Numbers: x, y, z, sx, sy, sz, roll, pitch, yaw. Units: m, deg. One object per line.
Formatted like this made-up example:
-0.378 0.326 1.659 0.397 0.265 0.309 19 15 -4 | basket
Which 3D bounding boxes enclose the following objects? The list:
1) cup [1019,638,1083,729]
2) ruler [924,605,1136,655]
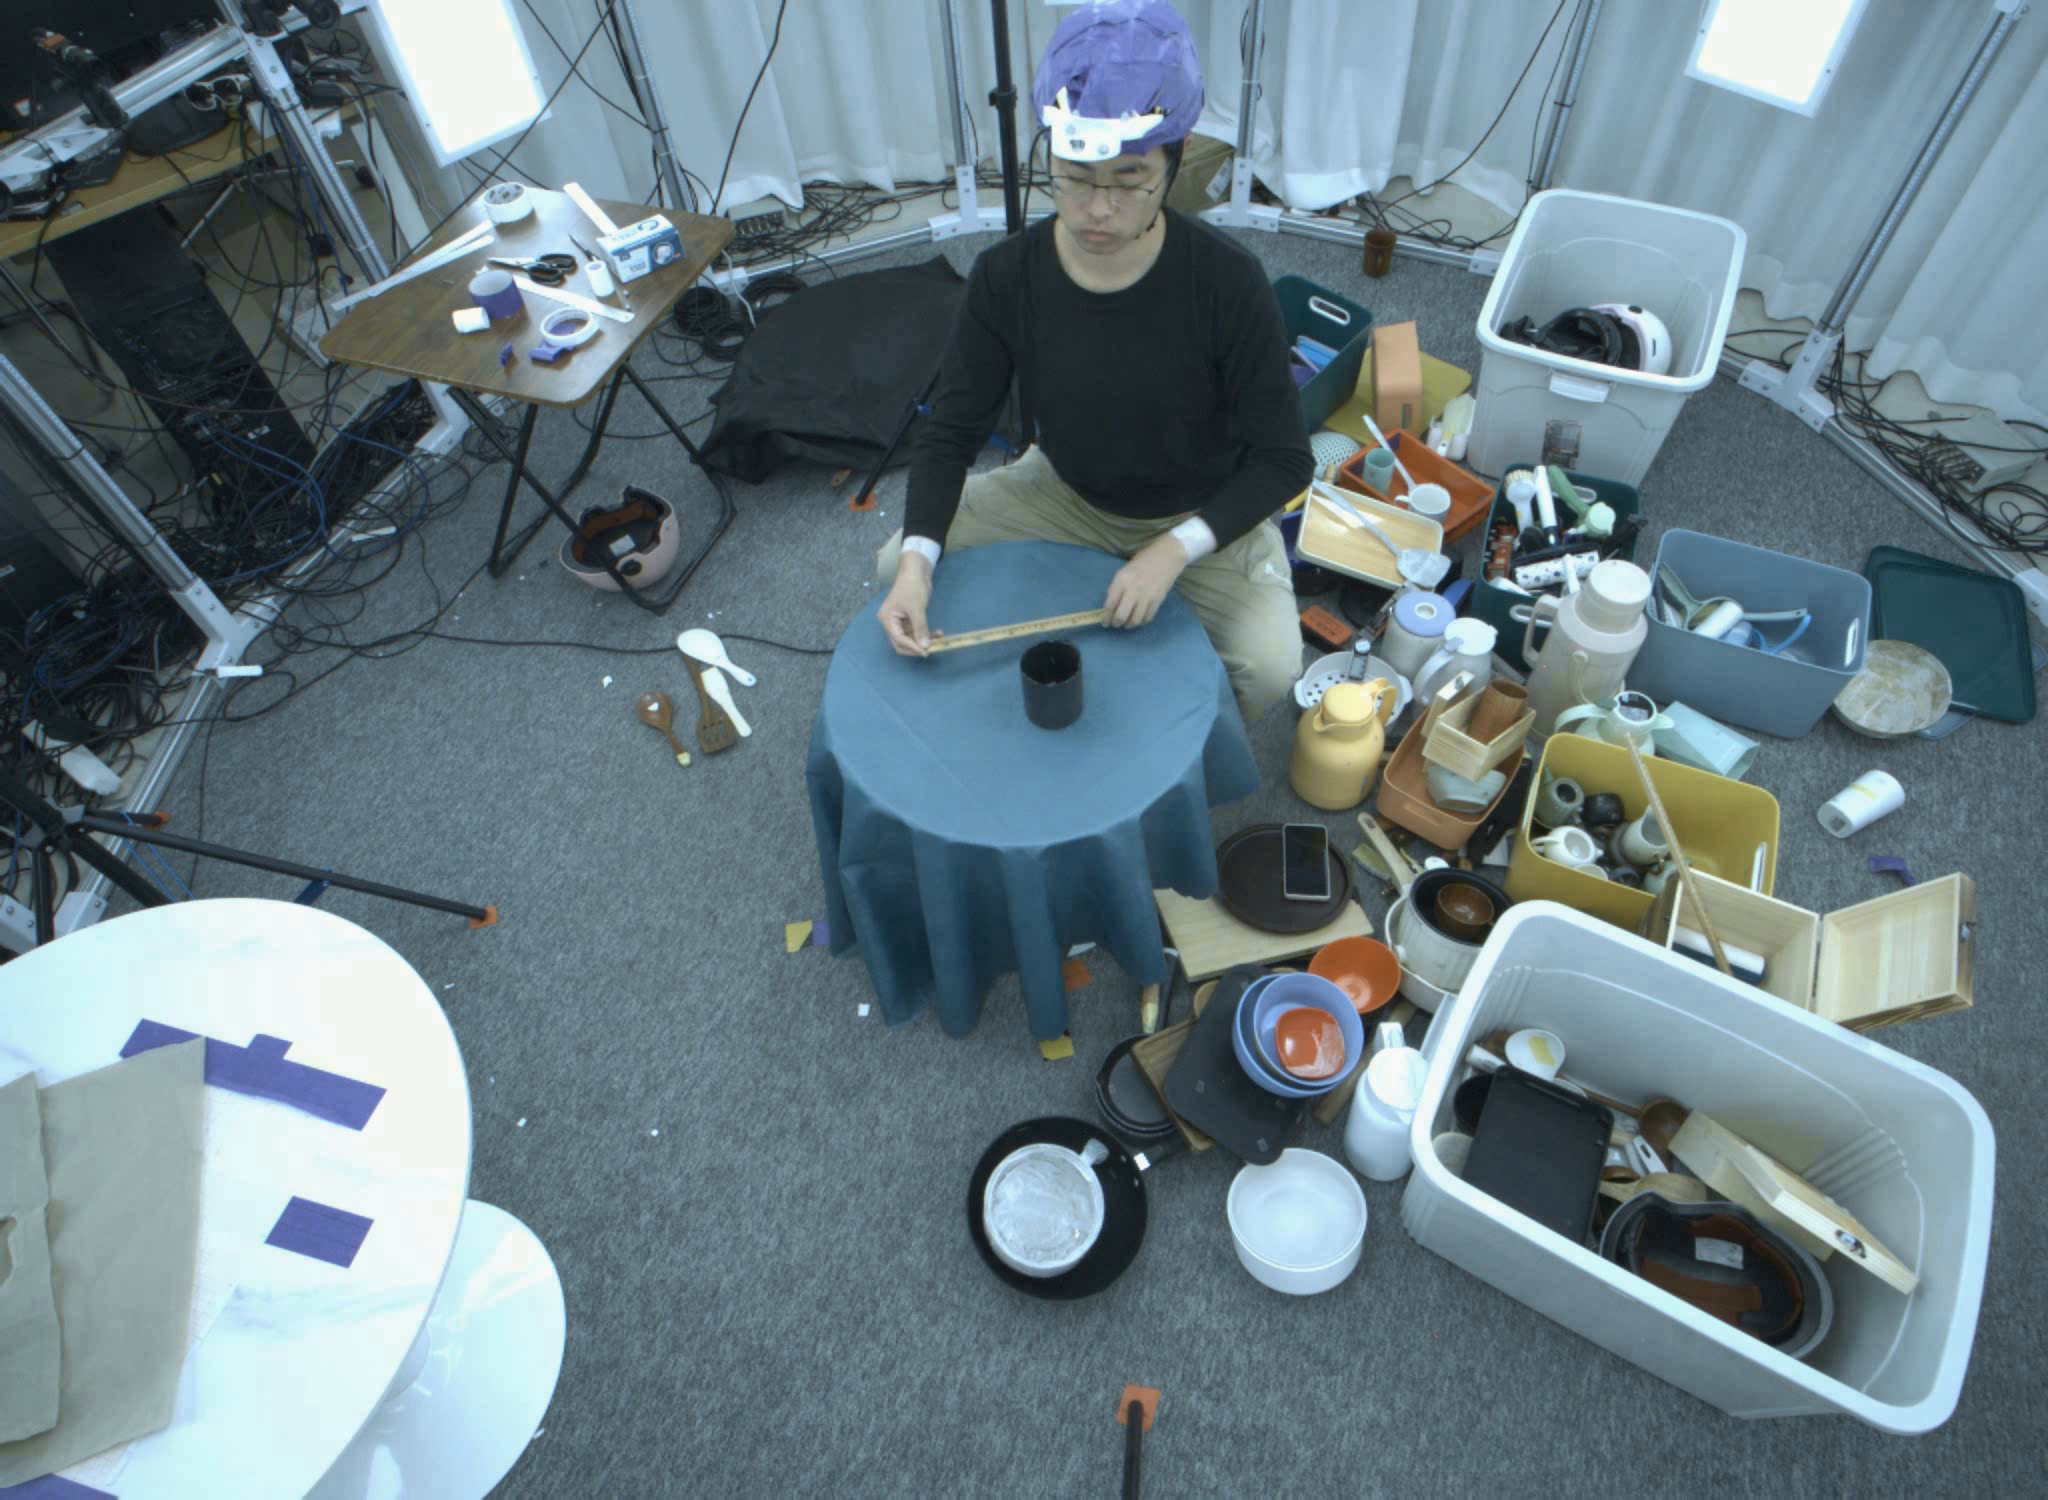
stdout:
0.046 -0.109 1.801 0.088 0.106 0.123 13 56 14 | cup
0.011 -0.188 1.878 0.335 0.022 0.027 -11 55 -13 | ruler
